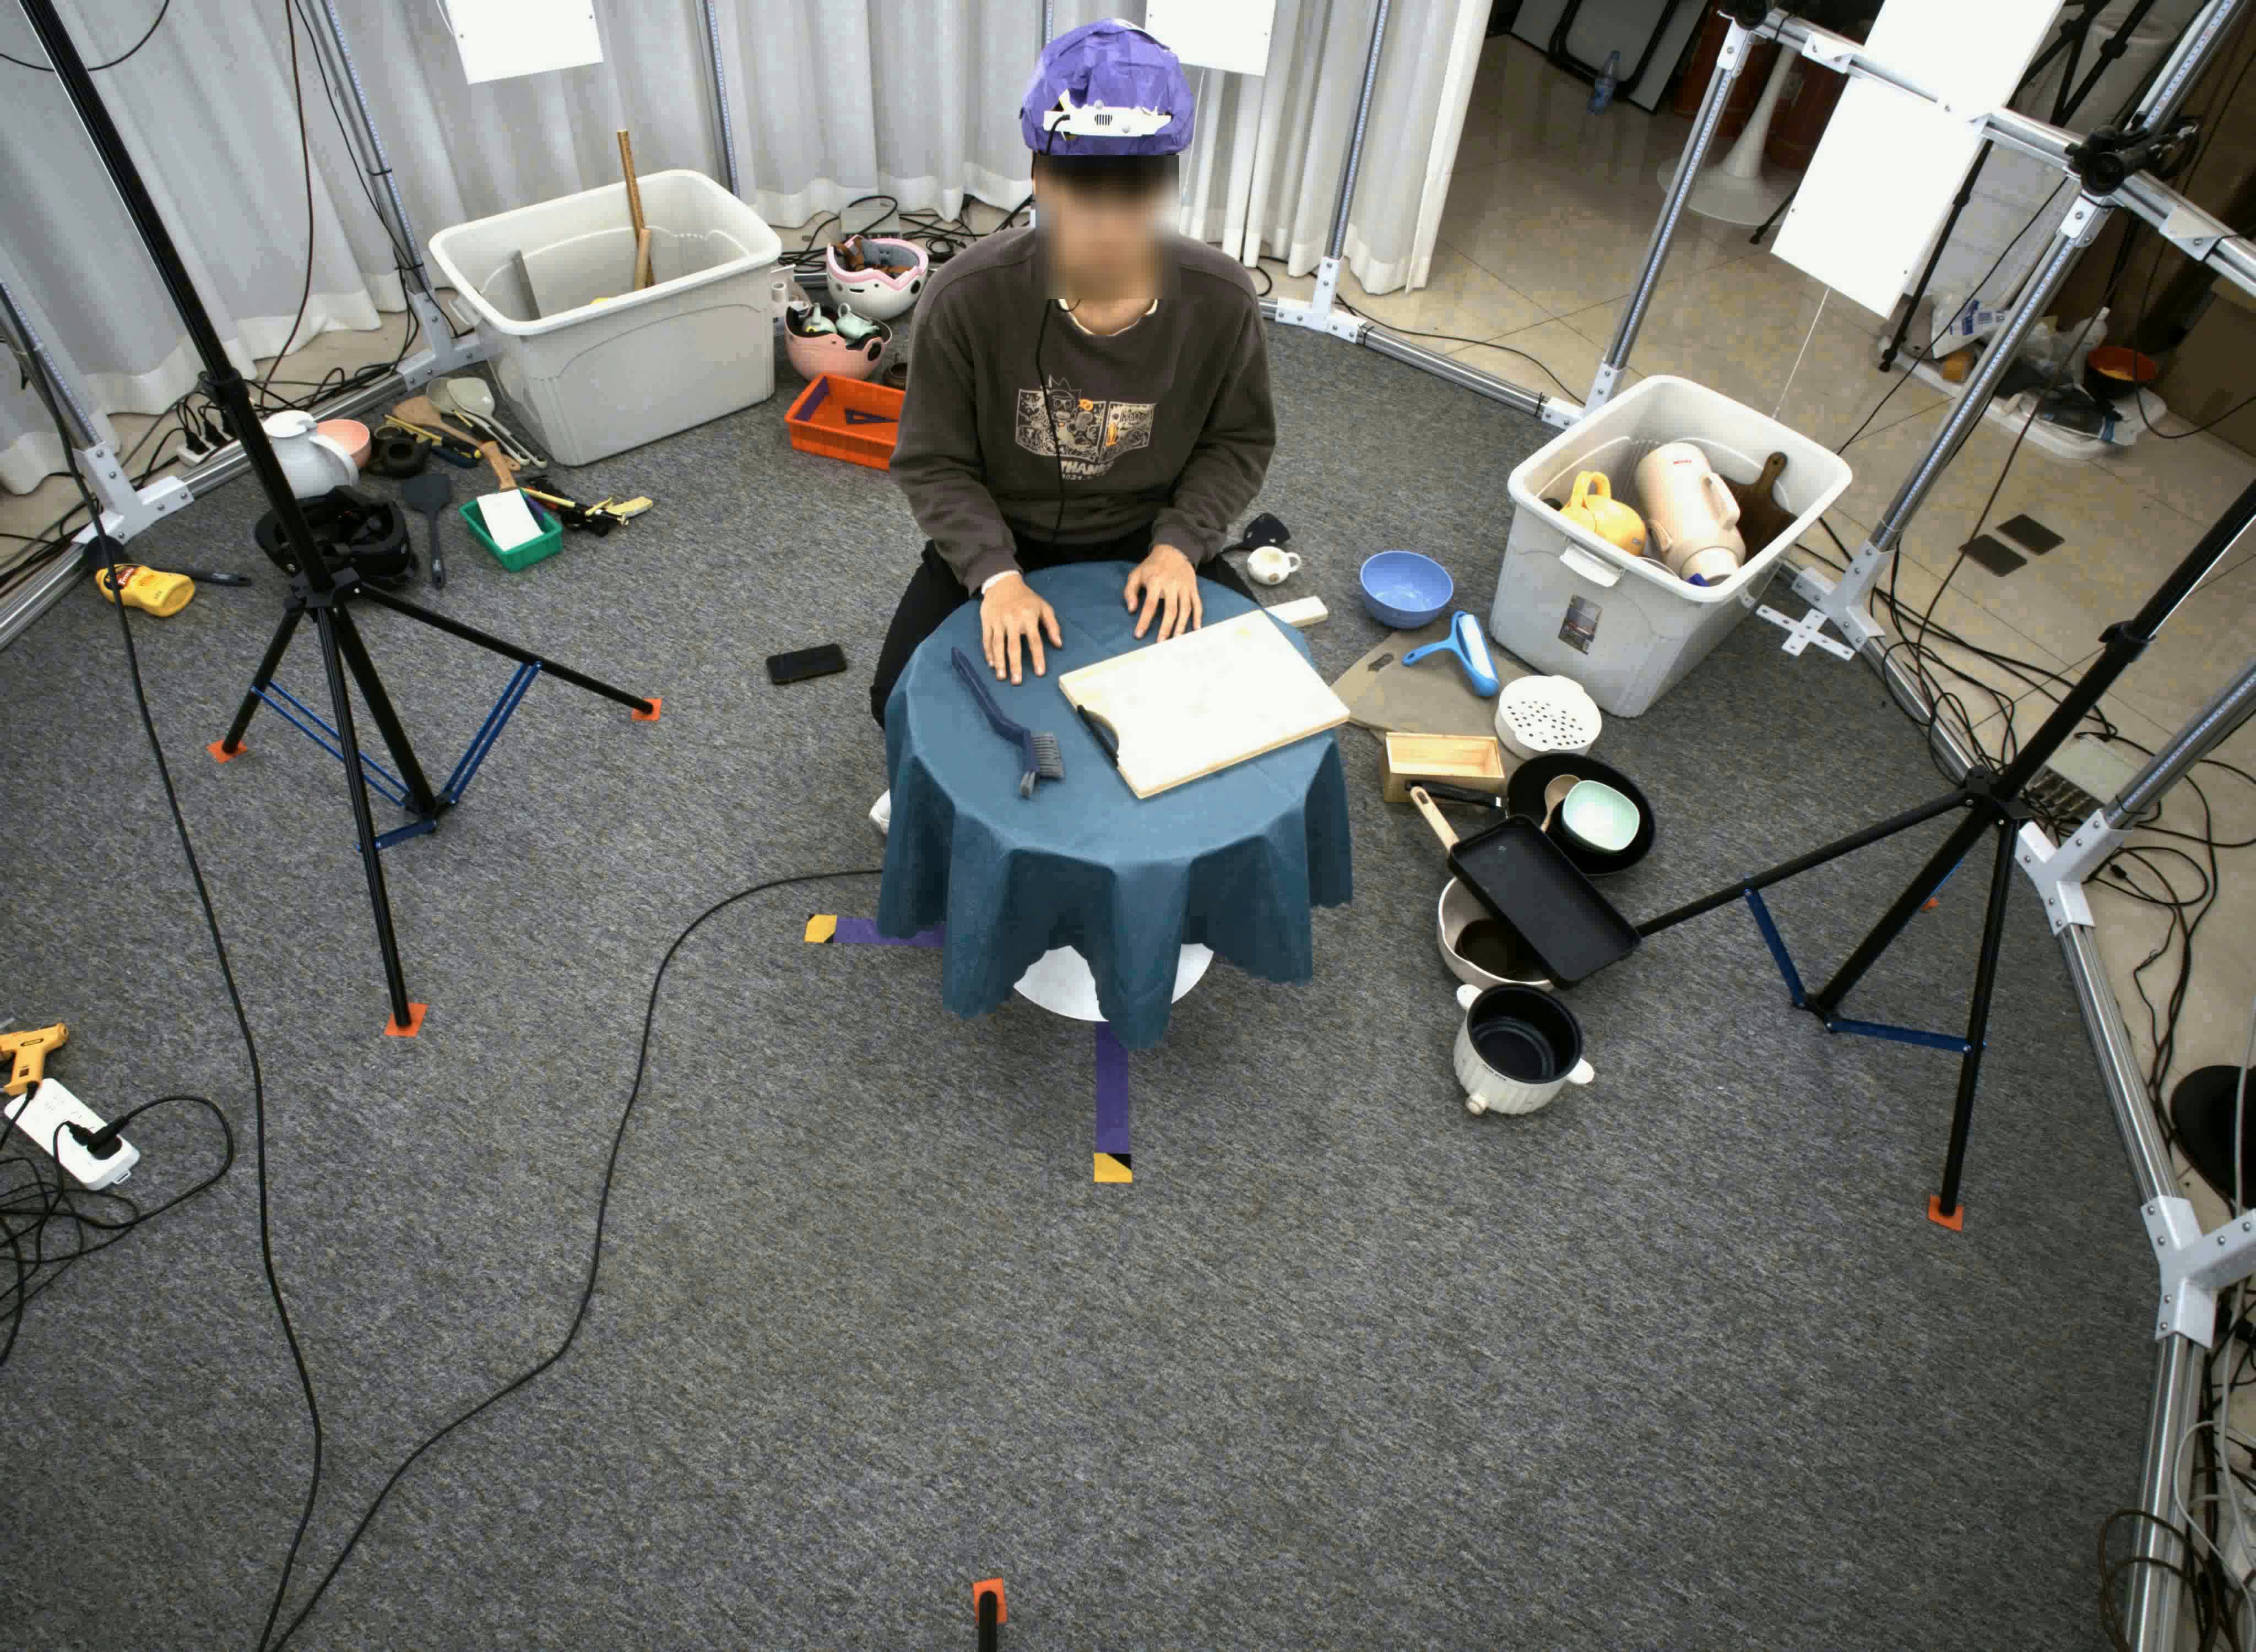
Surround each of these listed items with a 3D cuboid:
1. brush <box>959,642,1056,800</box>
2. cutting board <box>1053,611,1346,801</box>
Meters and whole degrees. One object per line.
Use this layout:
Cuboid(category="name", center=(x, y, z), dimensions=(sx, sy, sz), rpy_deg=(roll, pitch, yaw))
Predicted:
Cuboid(category="brush", center=(-0.185, -0.150, 1.764), dimensions=(0.096, 0.033, 0.278), rpy_deg=(-27, 57, -24))
Cuboid(category="cutting board", center=(0.102, -0.178, 1.816), dimensions=(0.349, 0.023, 0.256), rpy_deg=(-21, 53, -21))
